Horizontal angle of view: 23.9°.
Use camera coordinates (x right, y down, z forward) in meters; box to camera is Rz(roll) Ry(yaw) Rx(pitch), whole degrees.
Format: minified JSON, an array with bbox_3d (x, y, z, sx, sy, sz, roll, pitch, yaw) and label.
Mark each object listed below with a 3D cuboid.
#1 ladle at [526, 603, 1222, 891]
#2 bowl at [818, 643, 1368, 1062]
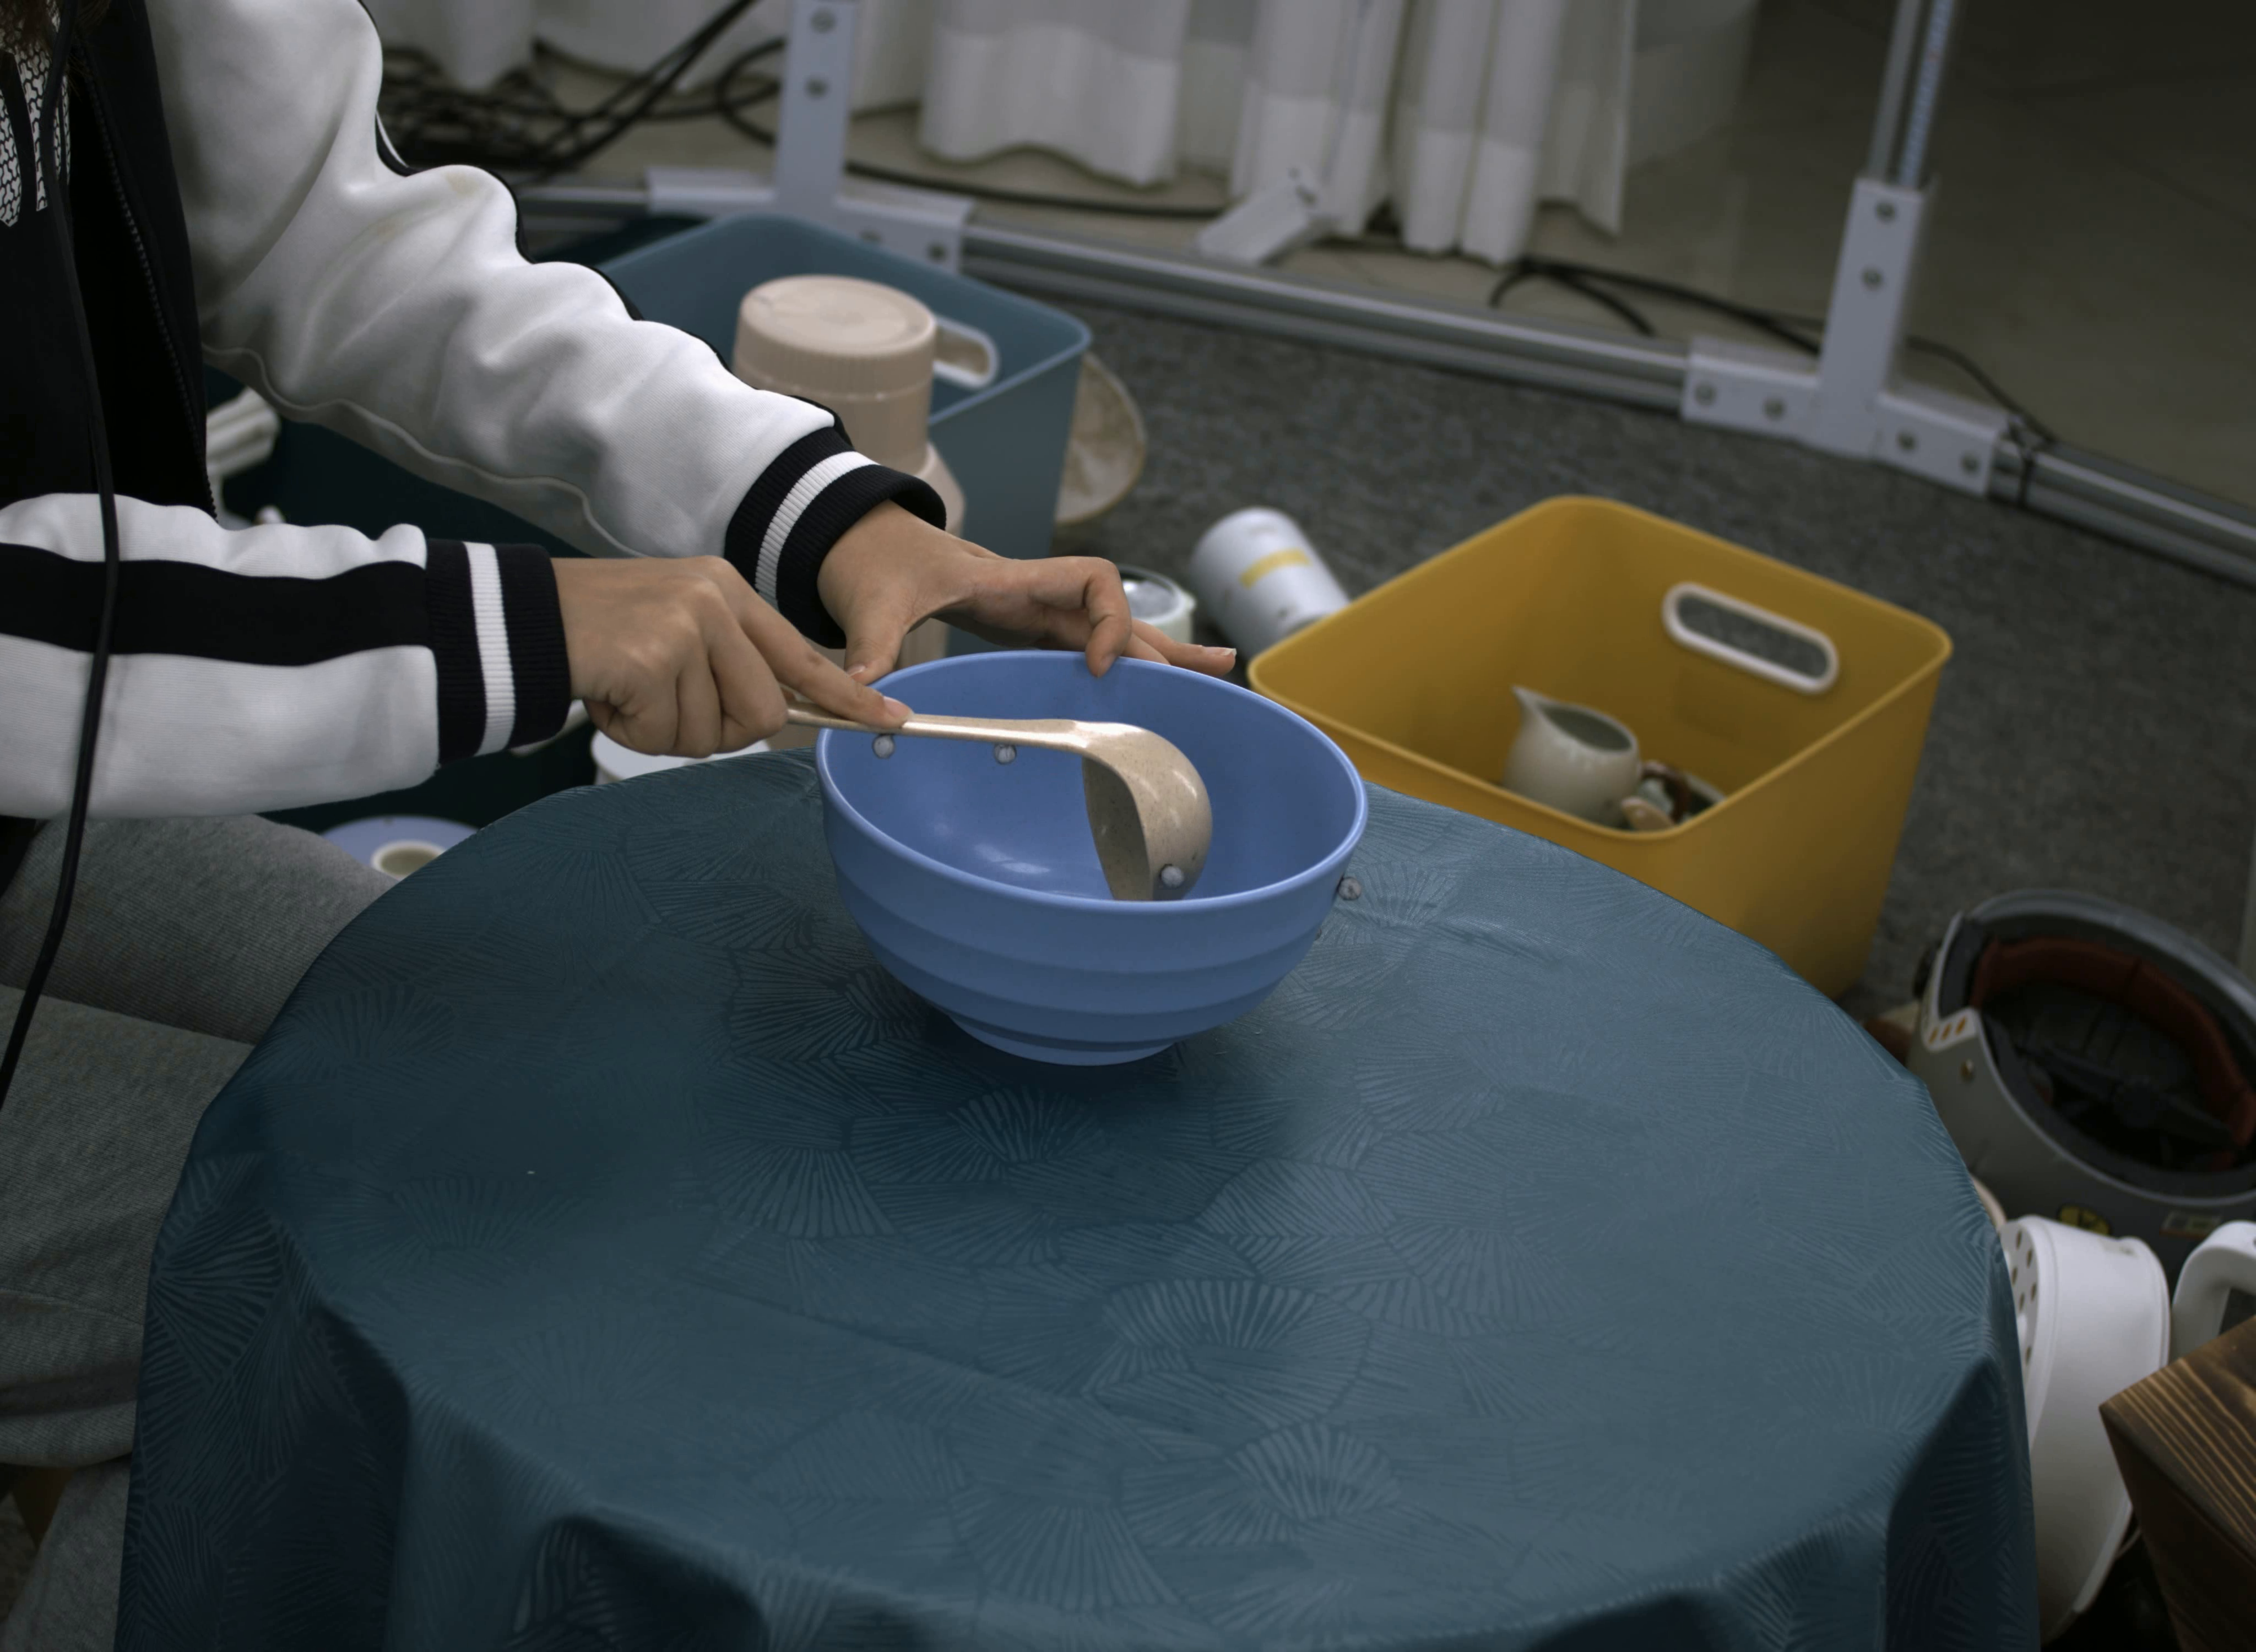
[{"bbox_3d":[-0.092,-0.012,1.836,0.253,0.072,0.073,14,68,-13],"label":"ladle"},{"bbox_3d":[-0.018,0.021,1.893,0.196,0.095,0.197,7,27,-4],"label":"bowl"}]
